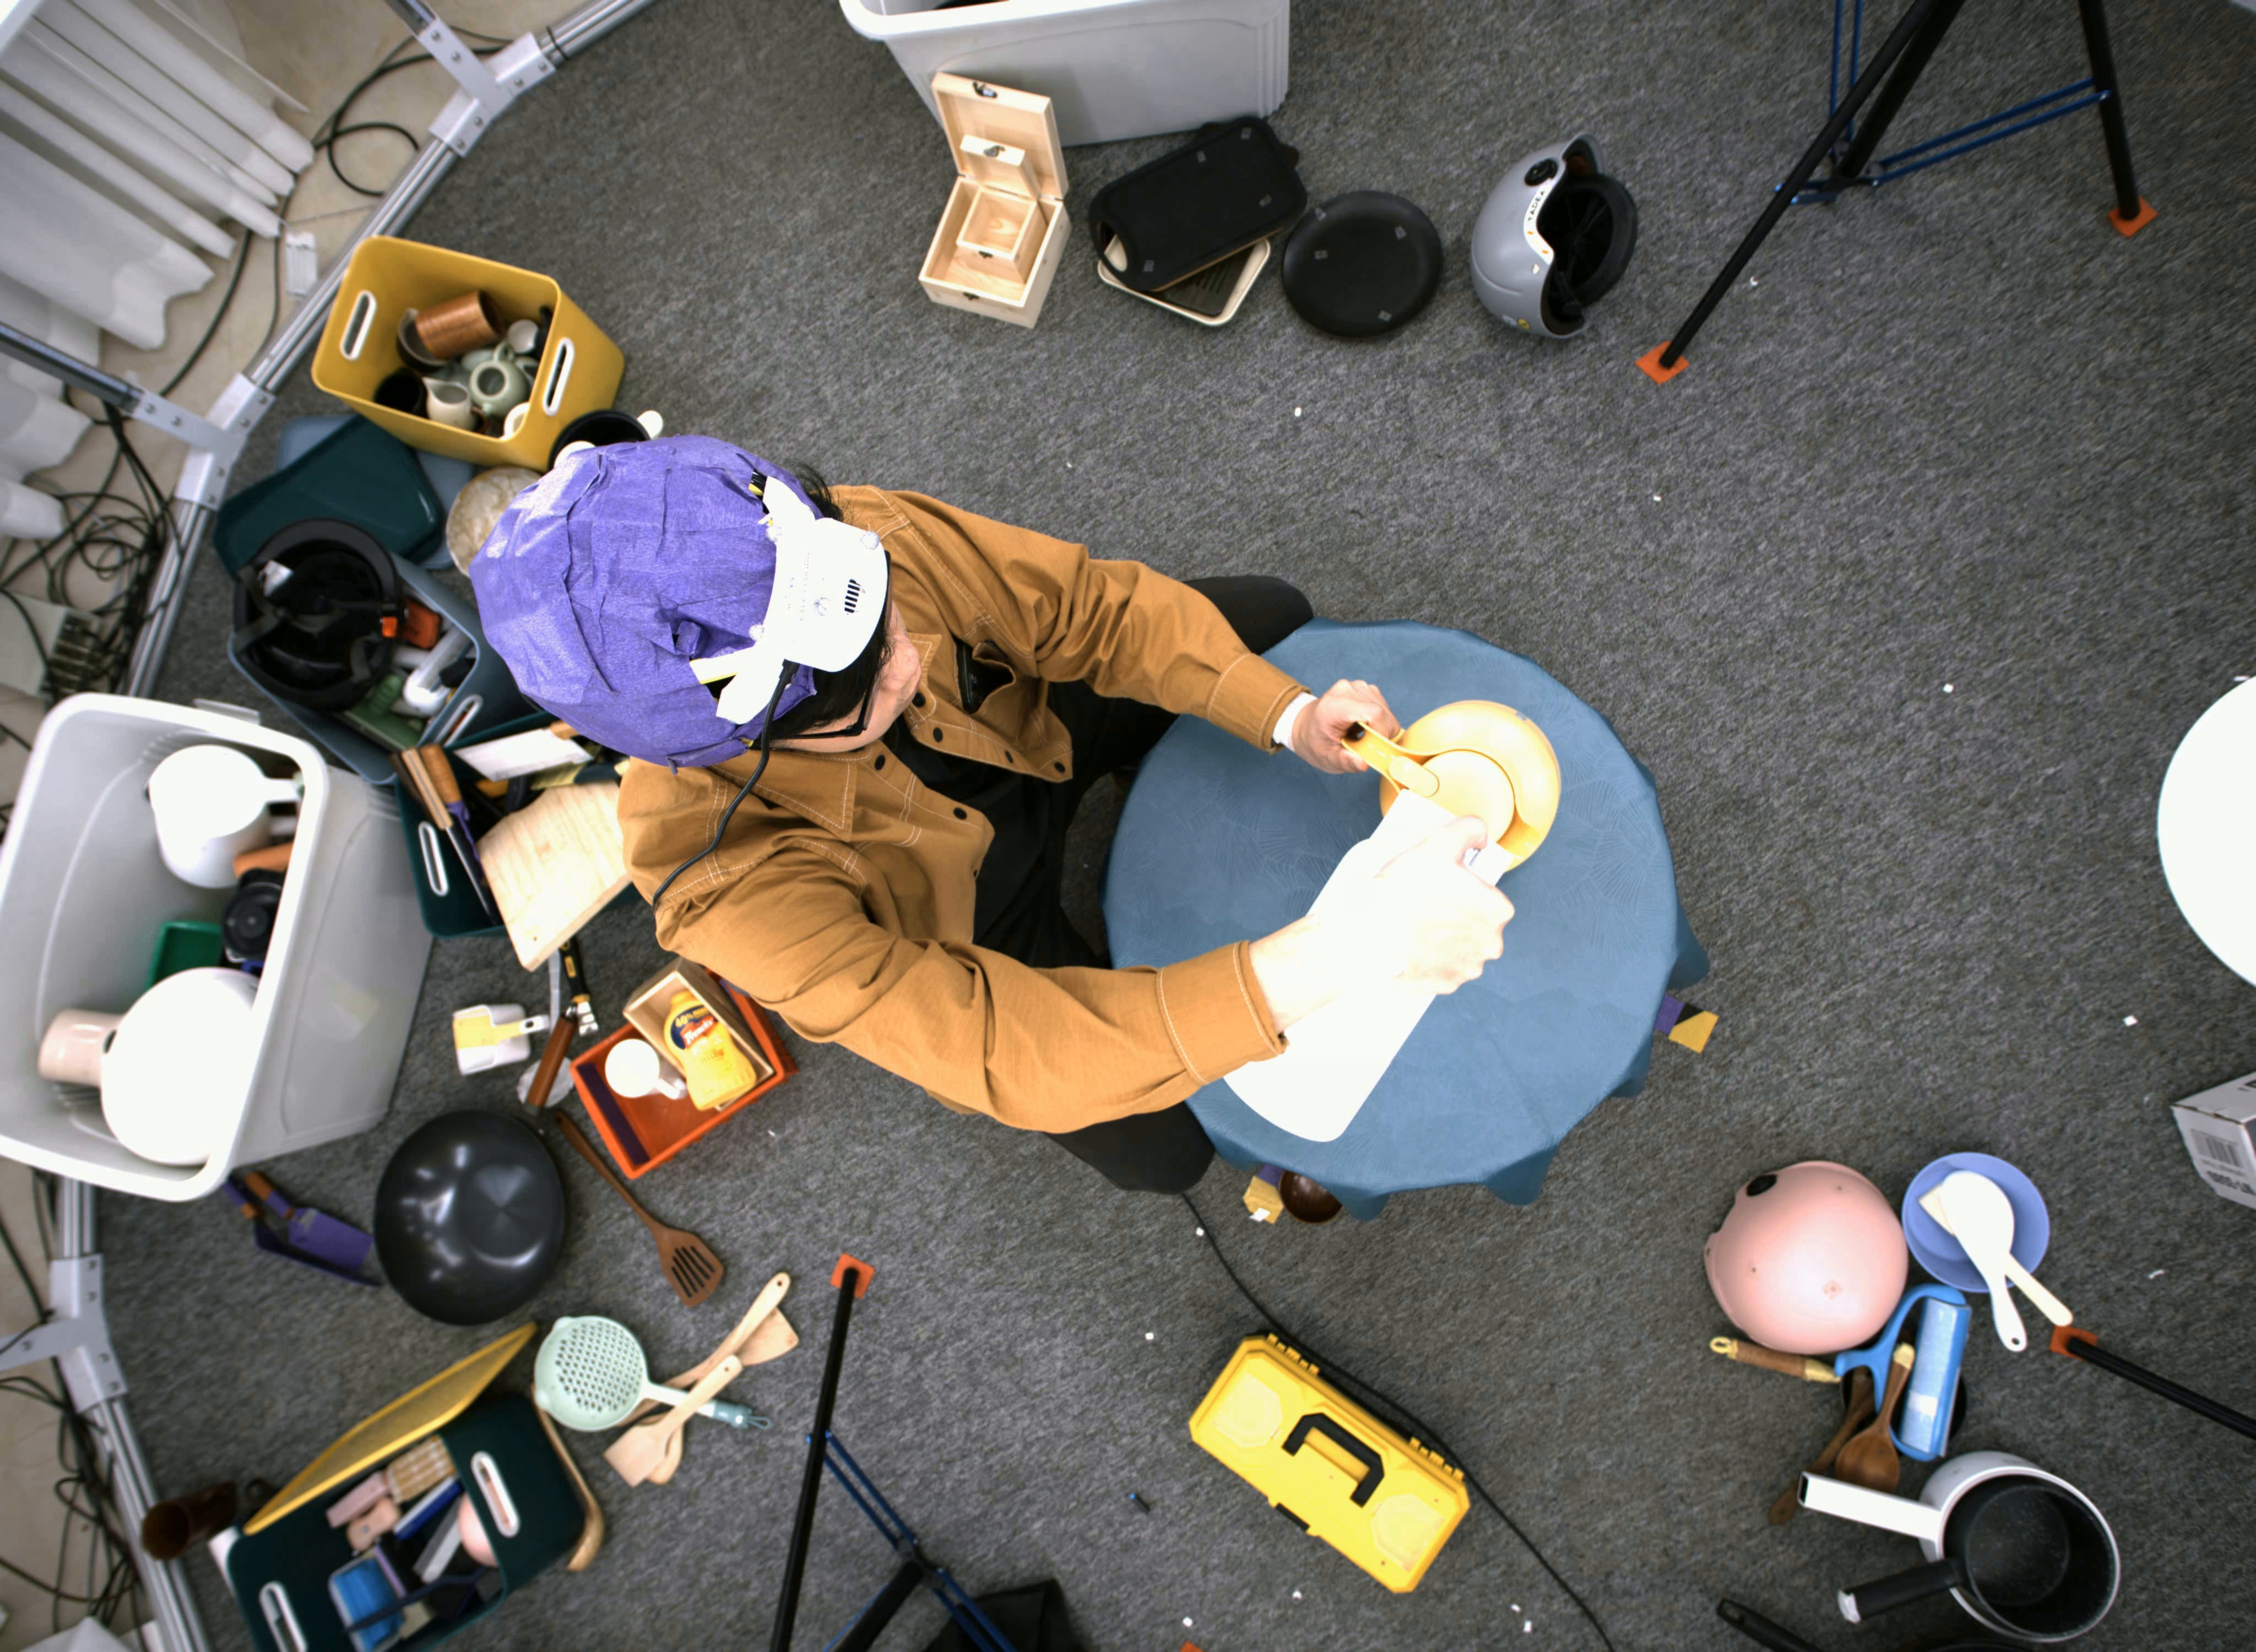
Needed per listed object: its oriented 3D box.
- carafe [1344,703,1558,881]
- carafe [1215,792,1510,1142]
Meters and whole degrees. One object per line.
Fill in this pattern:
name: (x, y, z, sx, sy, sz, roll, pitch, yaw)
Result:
carafe: (0.297, -0.043, 1.267, 0.202, 0.258, 0.165, 35, 104, 9)
carafe: (0.182, 0.114, 1.065, 0.124, 0.170, 0.272, 32, 106, -5)
